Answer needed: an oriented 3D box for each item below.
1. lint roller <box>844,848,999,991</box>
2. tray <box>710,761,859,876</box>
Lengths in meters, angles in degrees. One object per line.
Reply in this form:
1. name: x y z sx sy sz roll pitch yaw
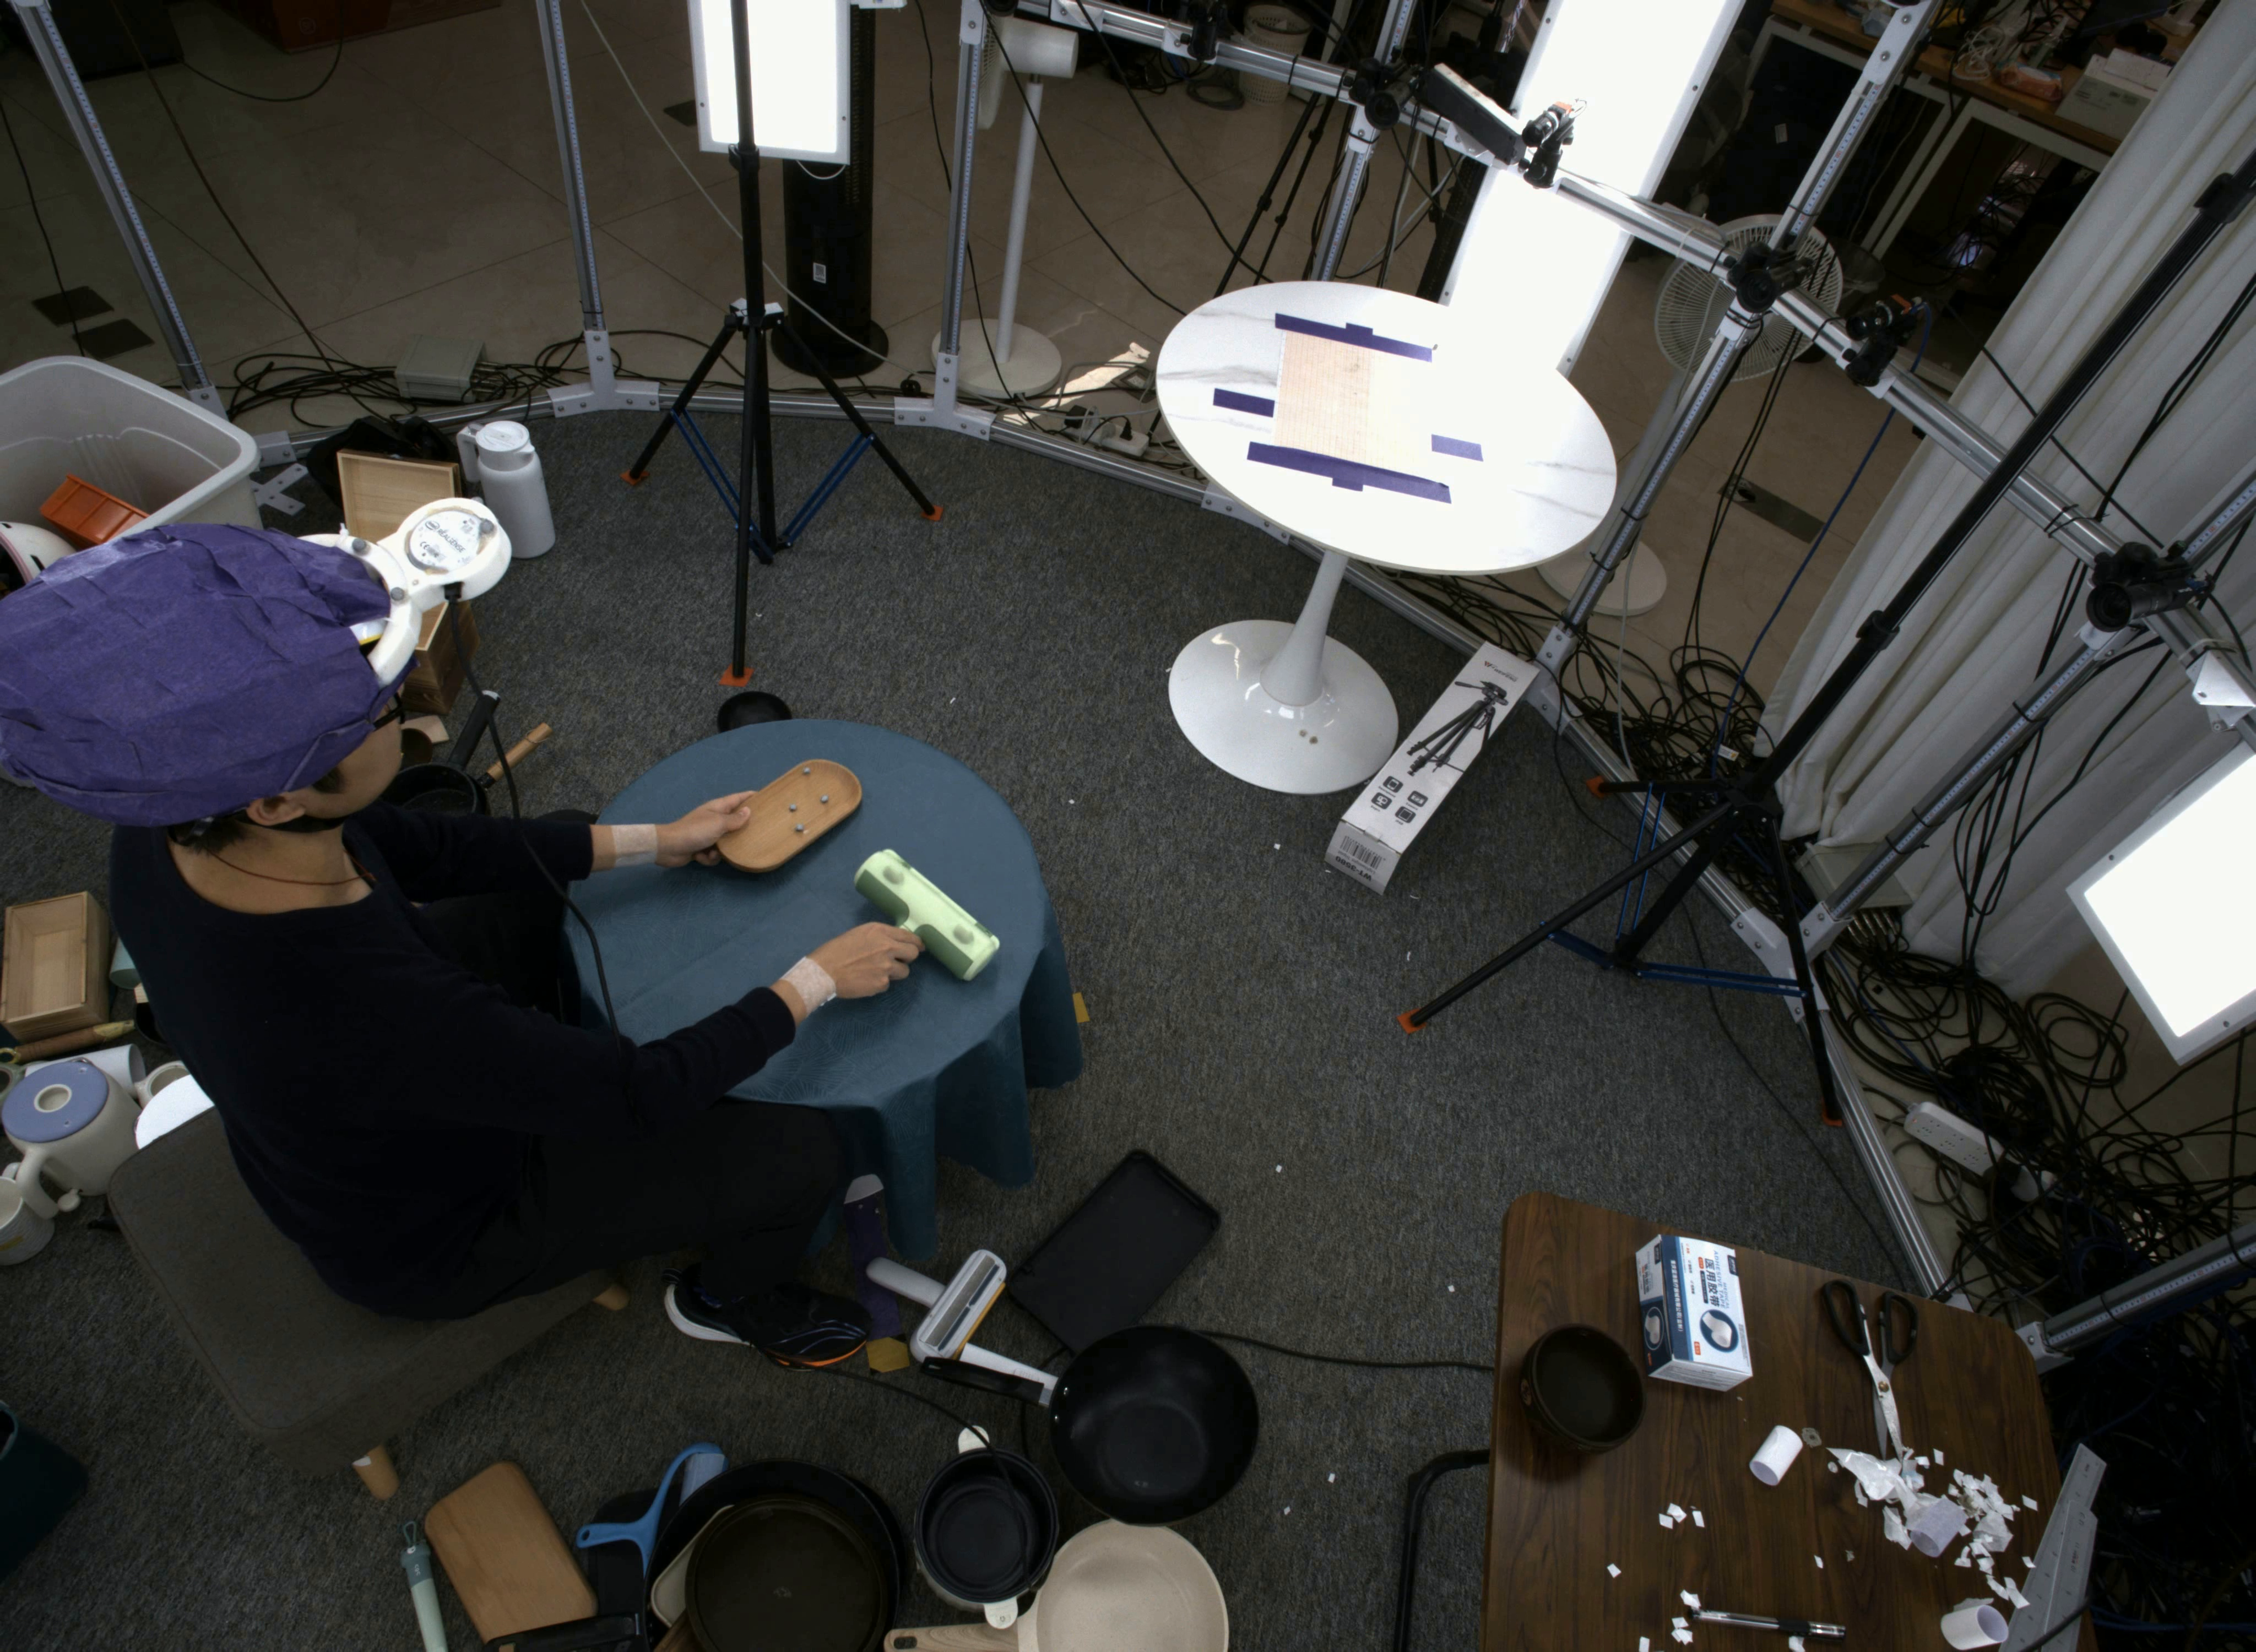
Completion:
1. lint roller: -0.275 0.126 1.574 0.197 0.083 0.183 40 39 3
2. tray: -0.445 -0.012 1.685 0.100 0.020 0.231 38 46 8
